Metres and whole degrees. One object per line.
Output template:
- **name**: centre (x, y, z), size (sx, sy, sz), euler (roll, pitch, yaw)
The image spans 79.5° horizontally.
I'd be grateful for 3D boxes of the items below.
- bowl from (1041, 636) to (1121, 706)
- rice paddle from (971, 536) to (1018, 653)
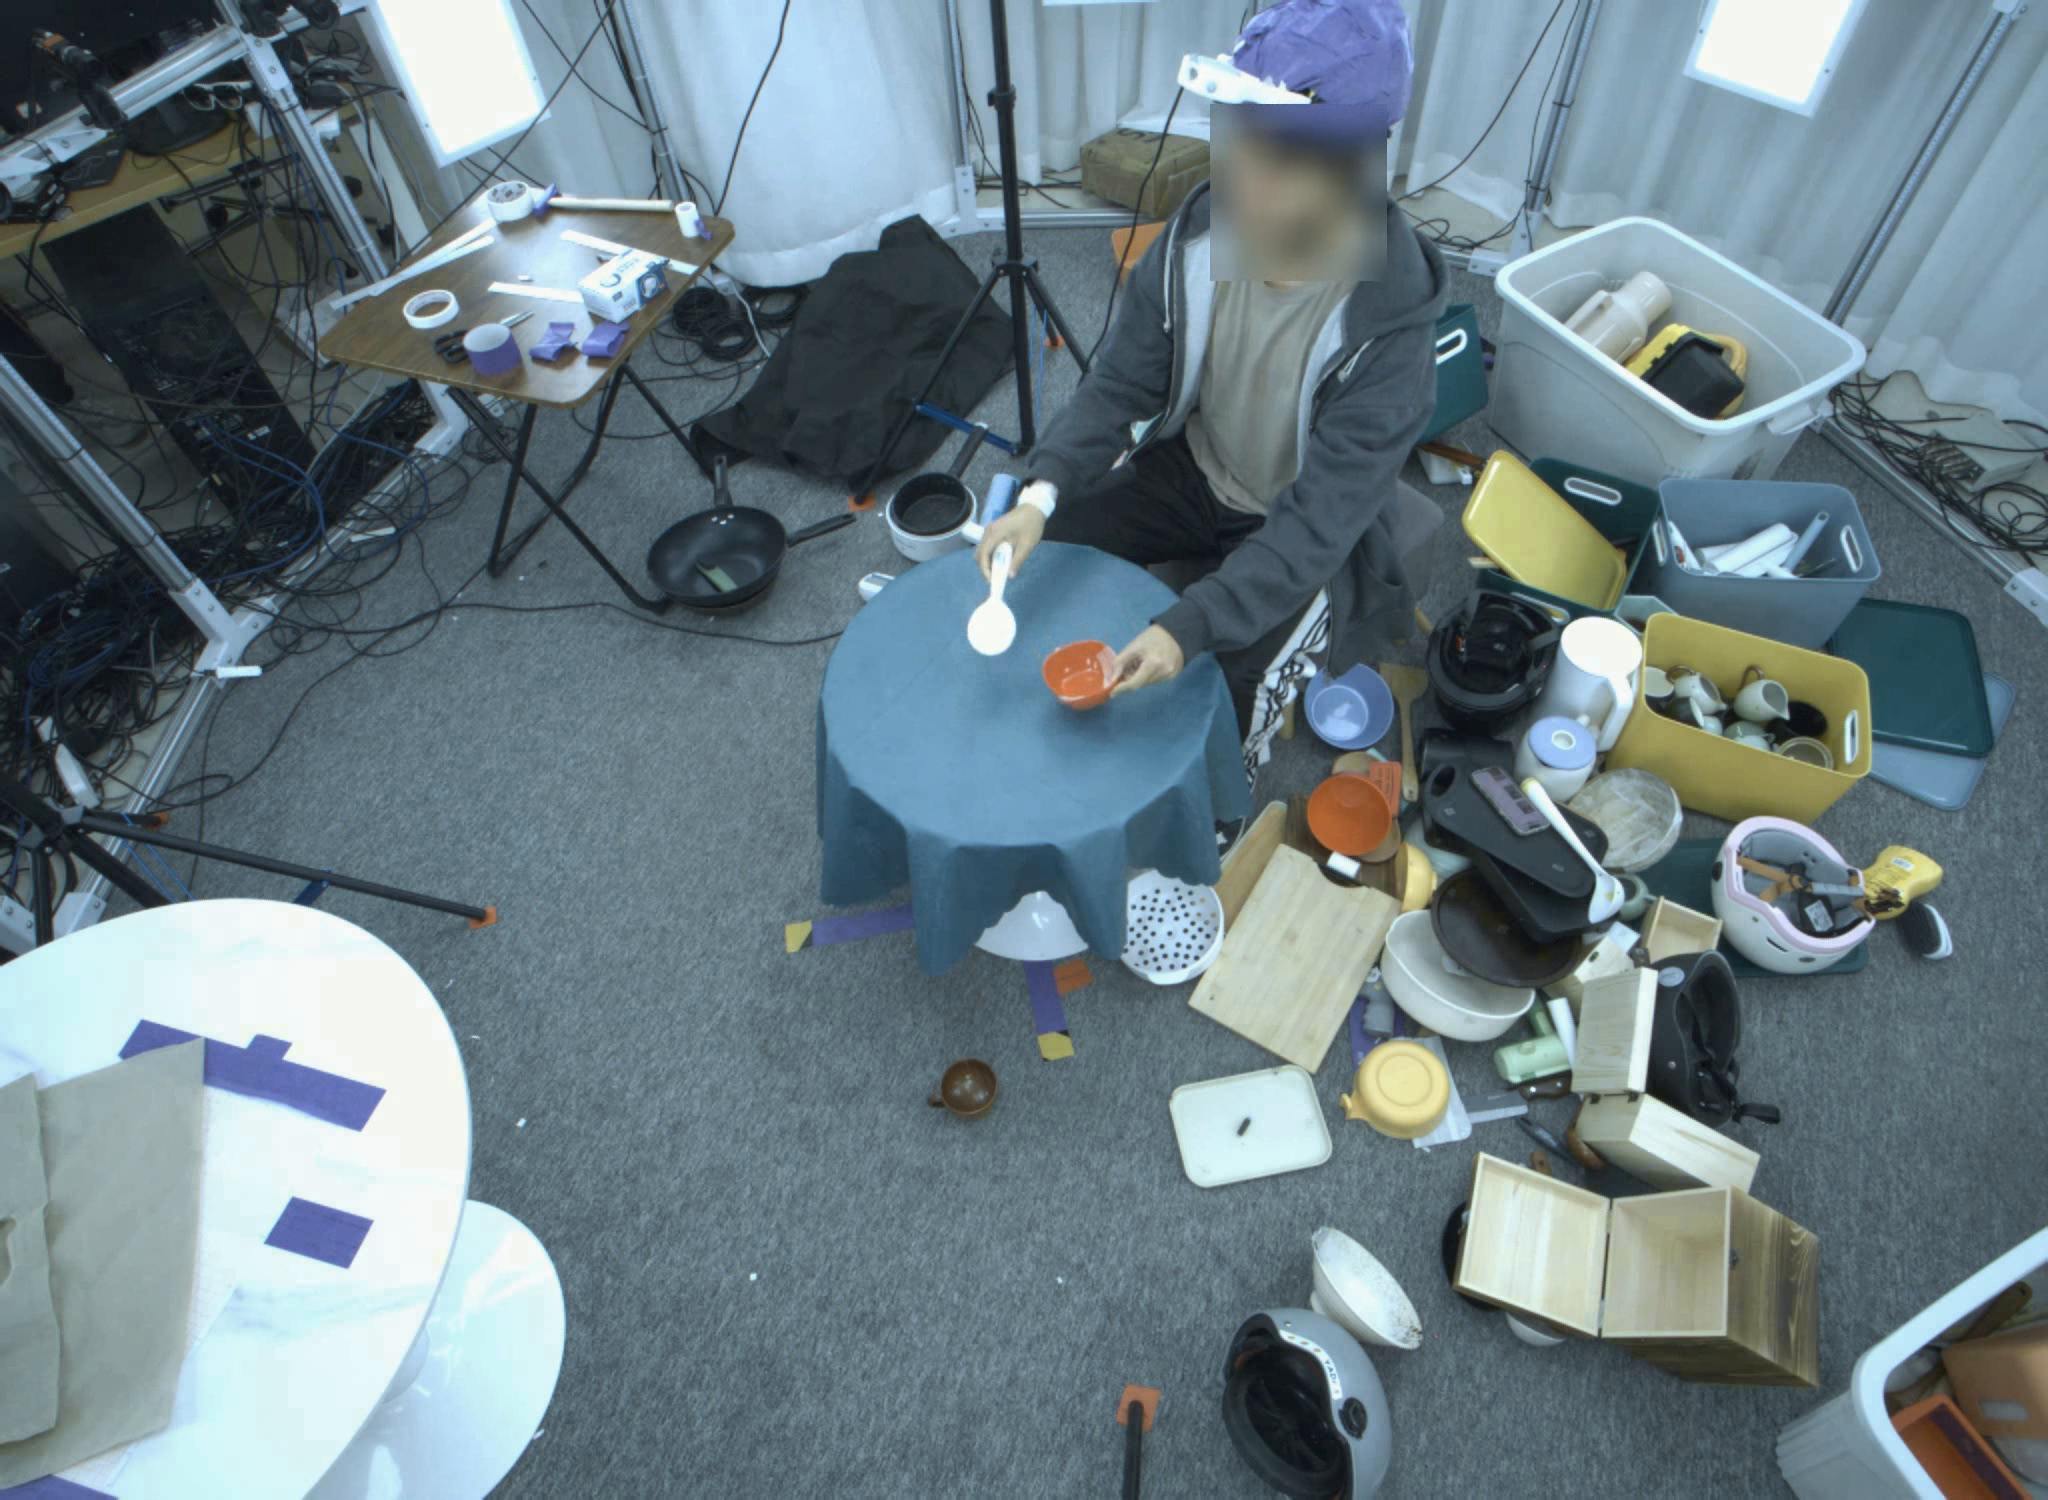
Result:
- **bowl**: centre (0.085, -0.108, 1.793), size (0.118, 0.052, 0.117), euler (-5, 49, 7)
- **rice paddle**: centre (-0.039, -0.231, 1.826), size (0.069, 0.029, 0.203), euler (5, 61, 0)
